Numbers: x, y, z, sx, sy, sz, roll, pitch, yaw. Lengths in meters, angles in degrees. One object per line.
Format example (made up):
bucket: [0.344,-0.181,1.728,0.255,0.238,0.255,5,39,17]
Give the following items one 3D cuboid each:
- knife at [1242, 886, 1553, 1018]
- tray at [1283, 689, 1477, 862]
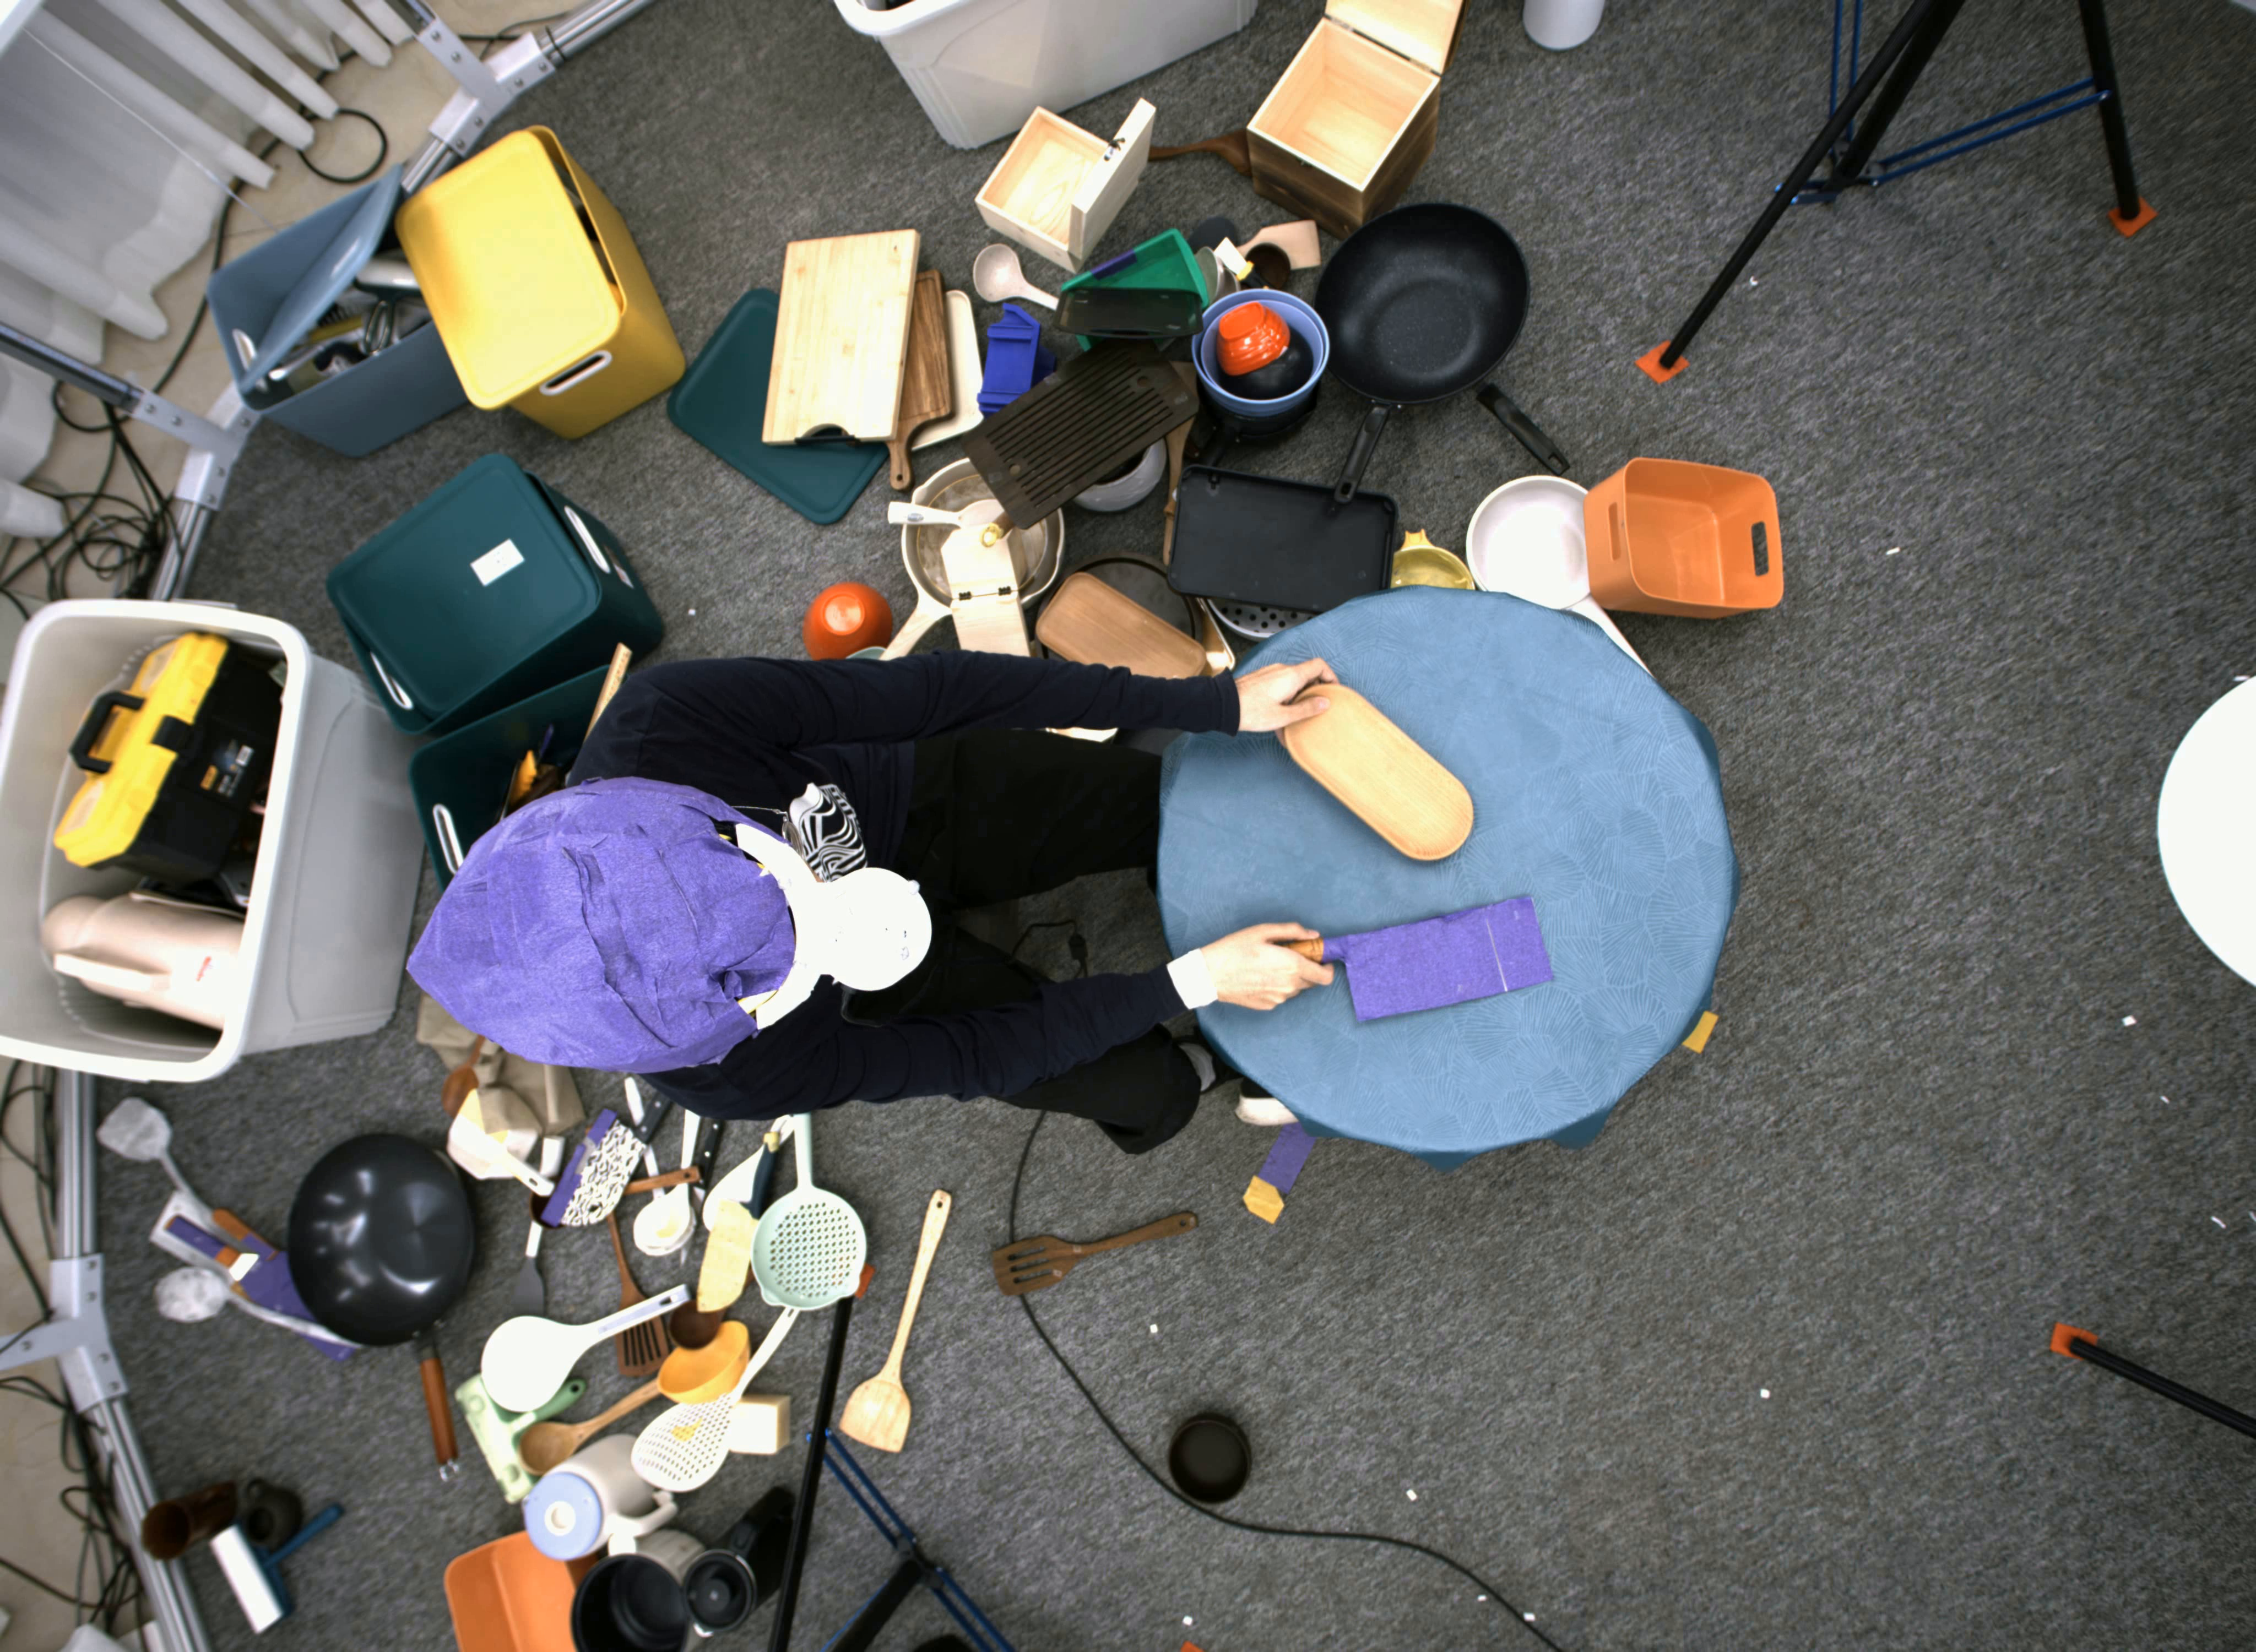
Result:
knife: [0.280,0.145,1.433,0.316,0.032,0.103,-14,86,7]
tray: [0.263,-0.054,1.440,0.231,0.020,0.101,39,82,0]
